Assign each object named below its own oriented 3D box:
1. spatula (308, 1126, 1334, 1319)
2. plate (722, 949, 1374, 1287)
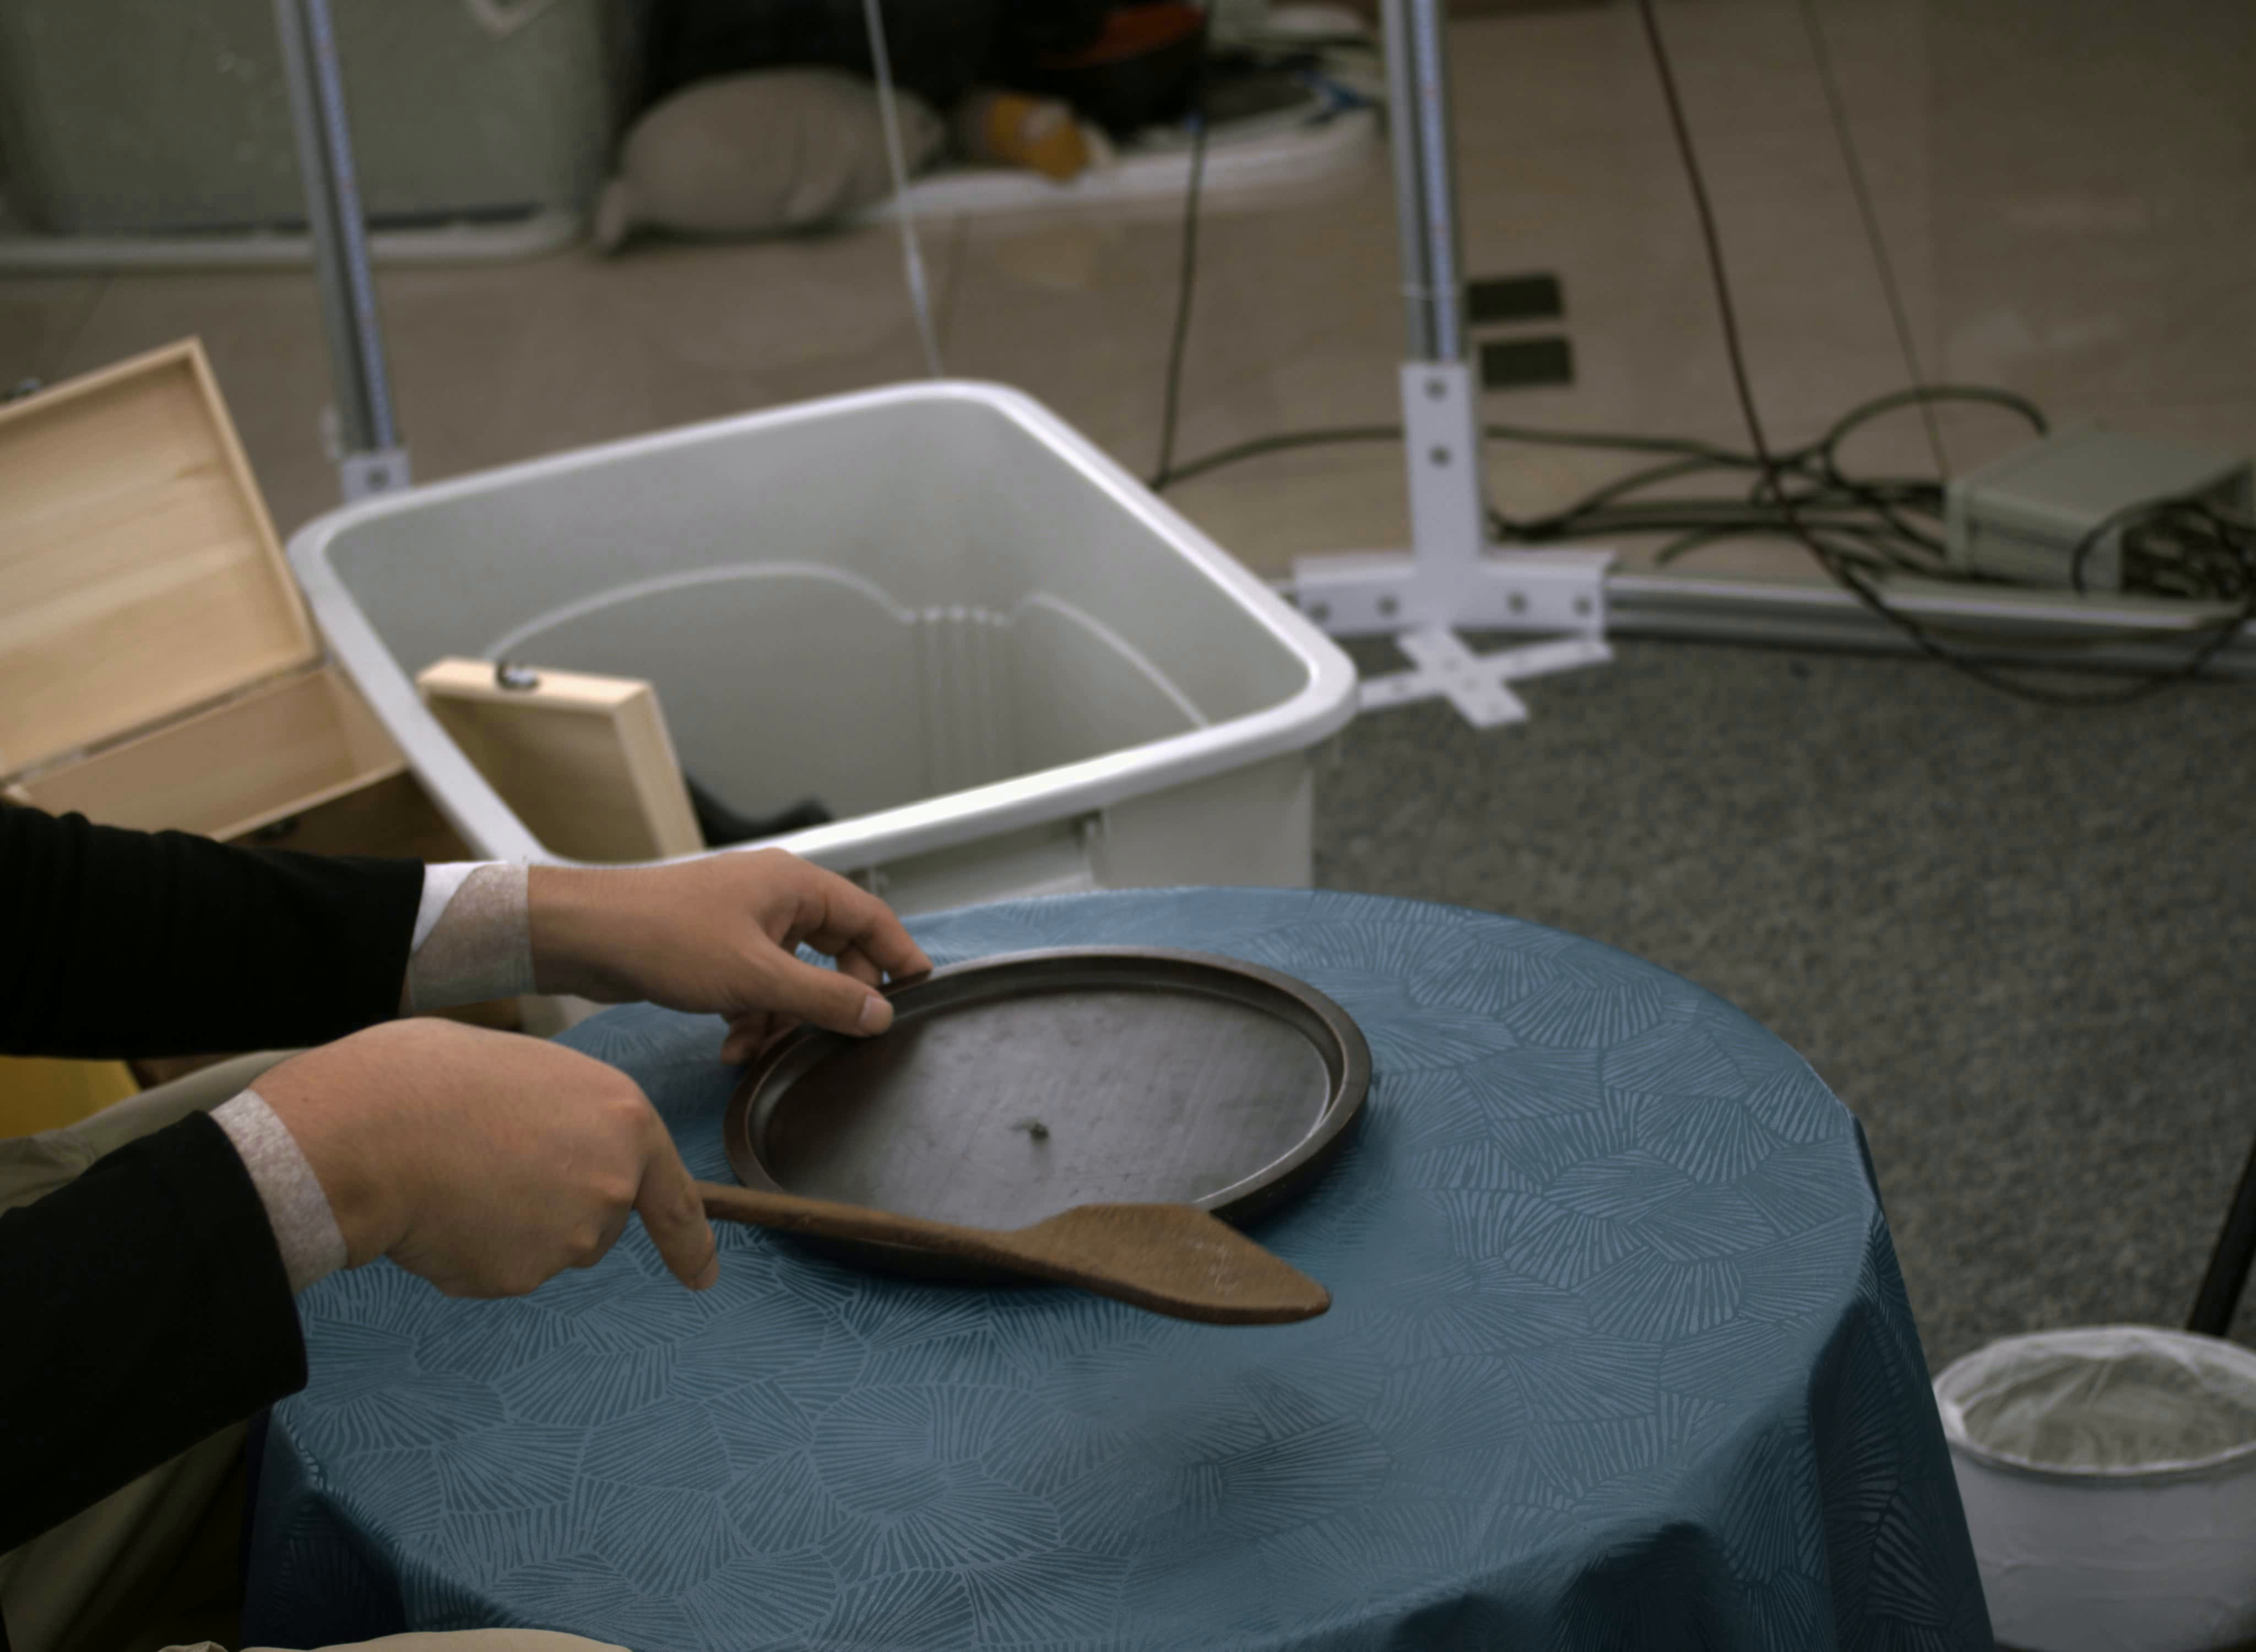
[{"bbox_3d":[-0.097,0.126,1.850,0.387,0.016,0.095,11,14,-37],"label":"spatula"},{"bbox_3d":[-0.030,0.110,2.188,0.254,0.029,0.251,-5,26,3],"label":"plate"}]
